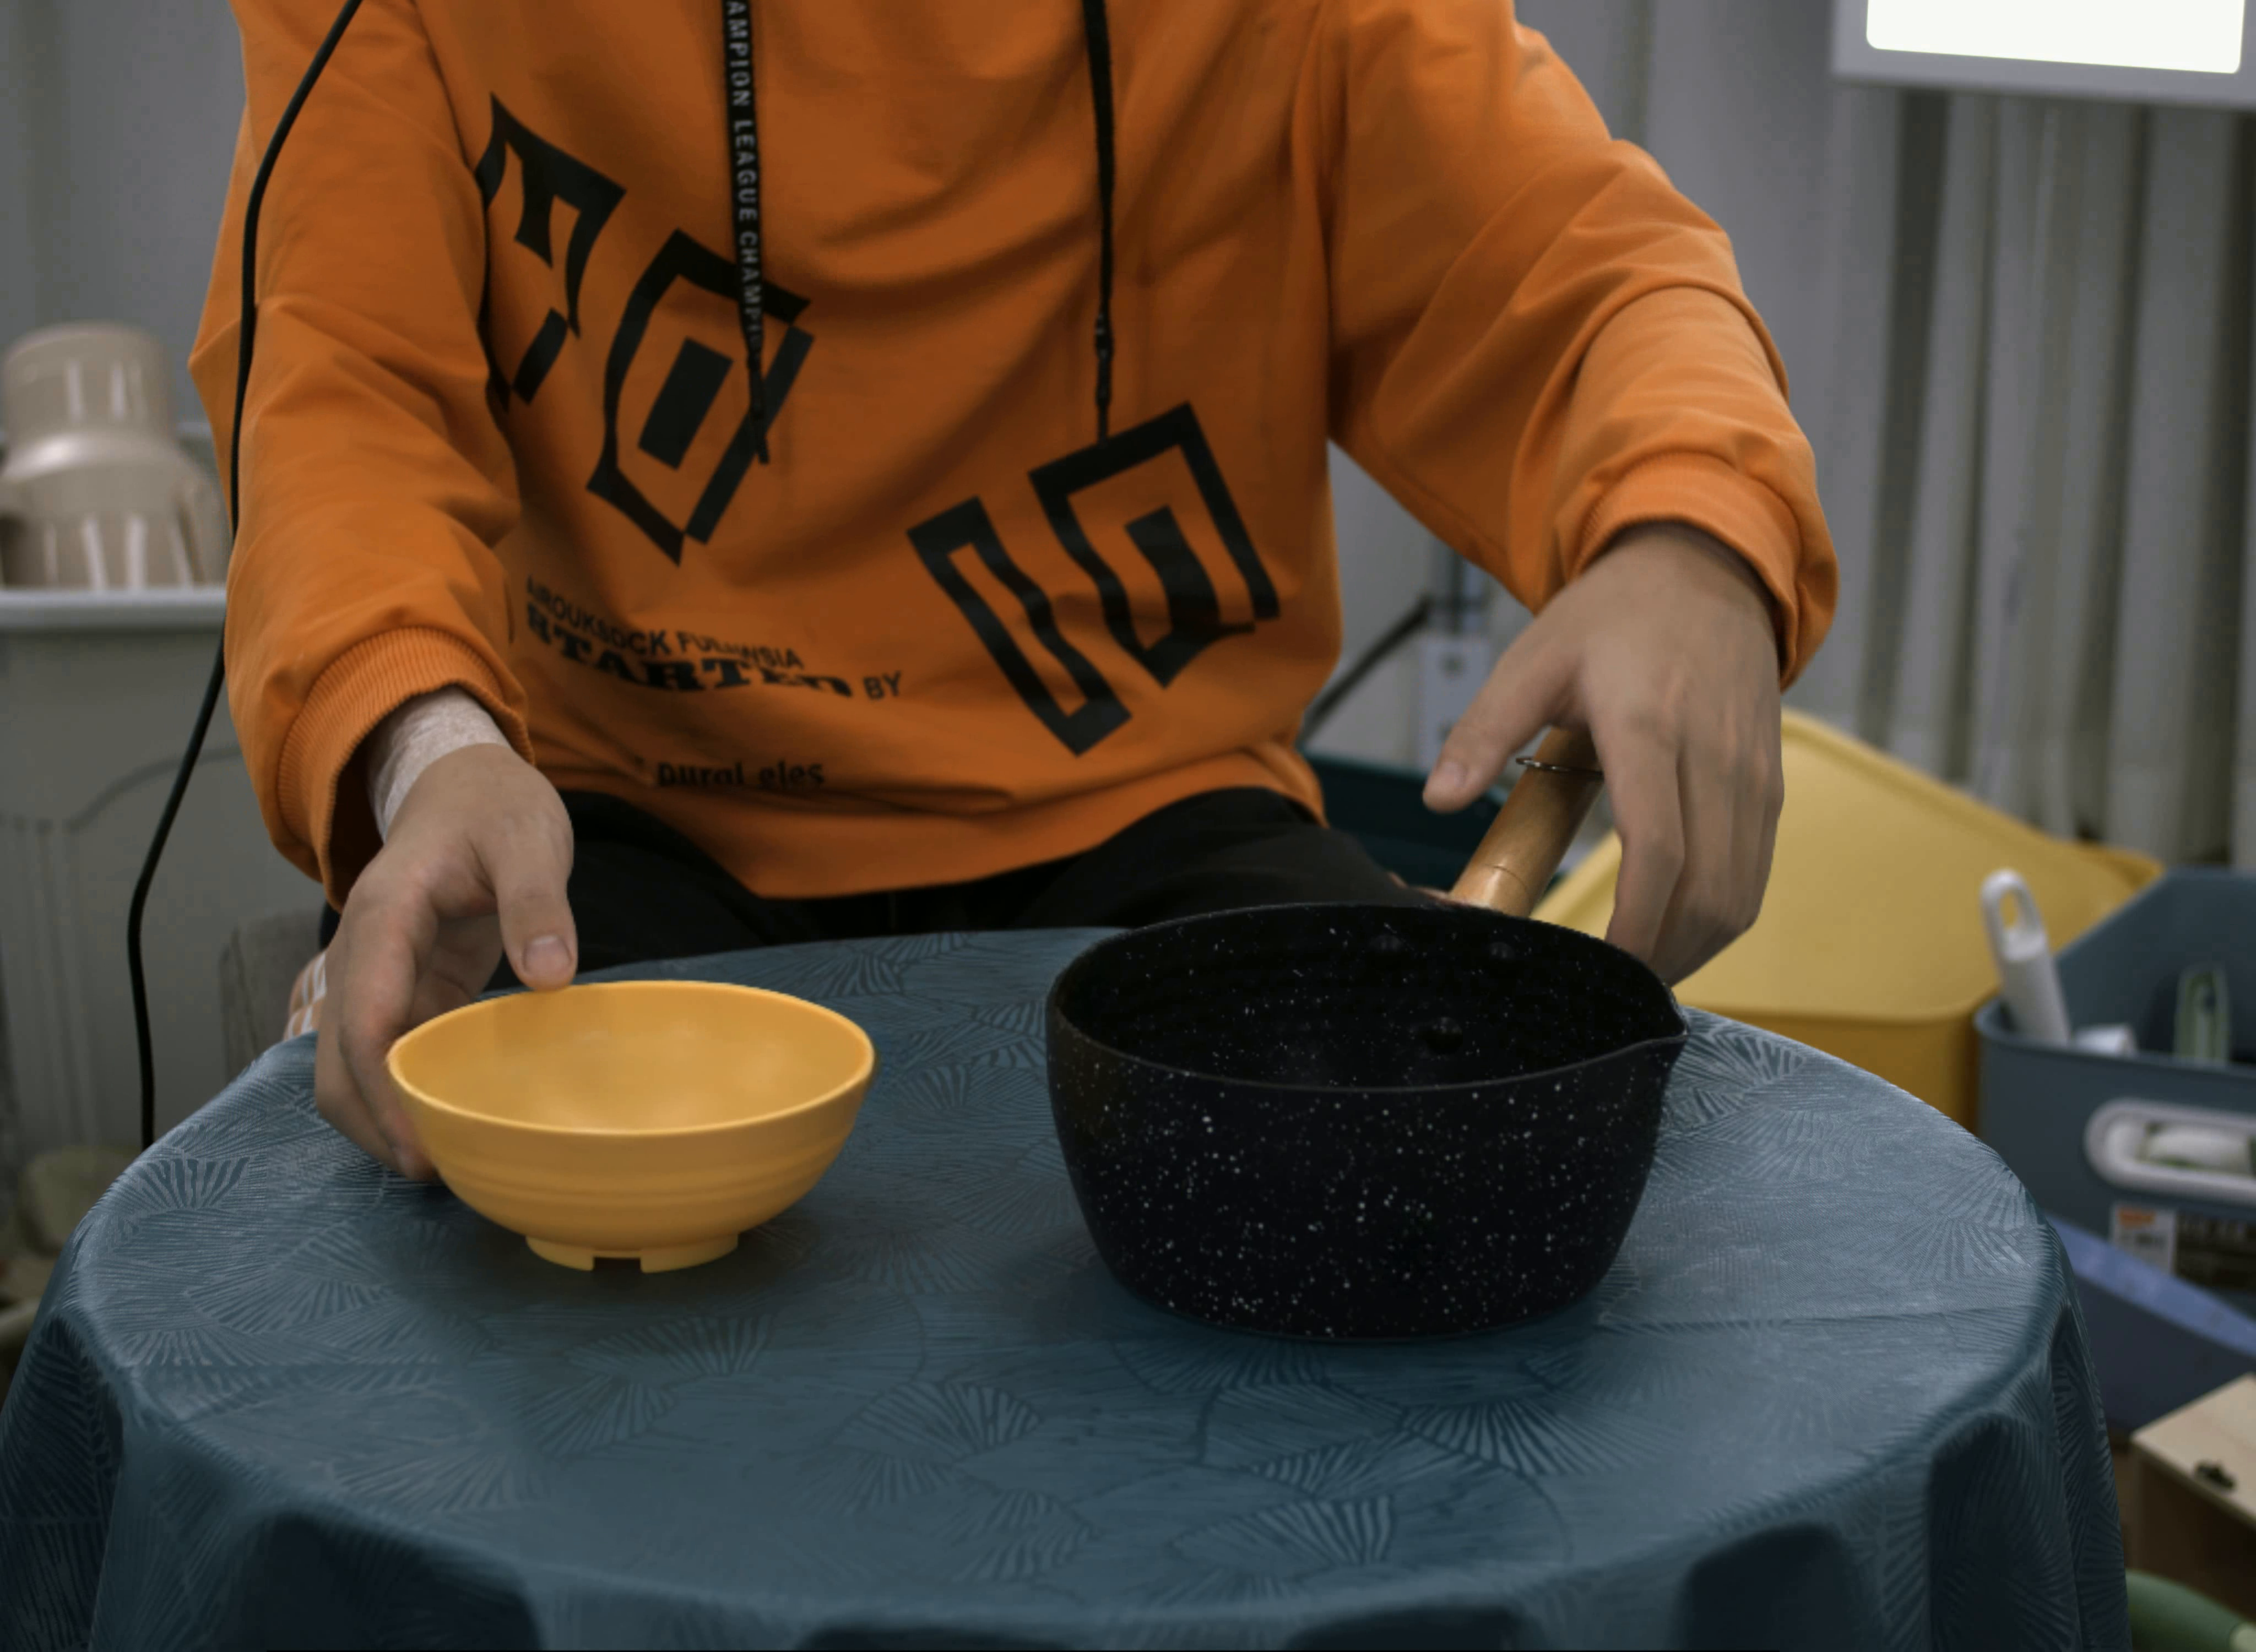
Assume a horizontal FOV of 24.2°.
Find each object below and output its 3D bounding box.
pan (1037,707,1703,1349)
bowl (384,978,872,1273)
[{"bbox_3d":[0.094,0.057,1.624,0.205,0.109,0.343,4,18,19],"label":"pan"},{"bbox_3d":[-0.149,0.095,1.572,0.145,0.060,0.144,2,16,0],"label":"bowl"}]
